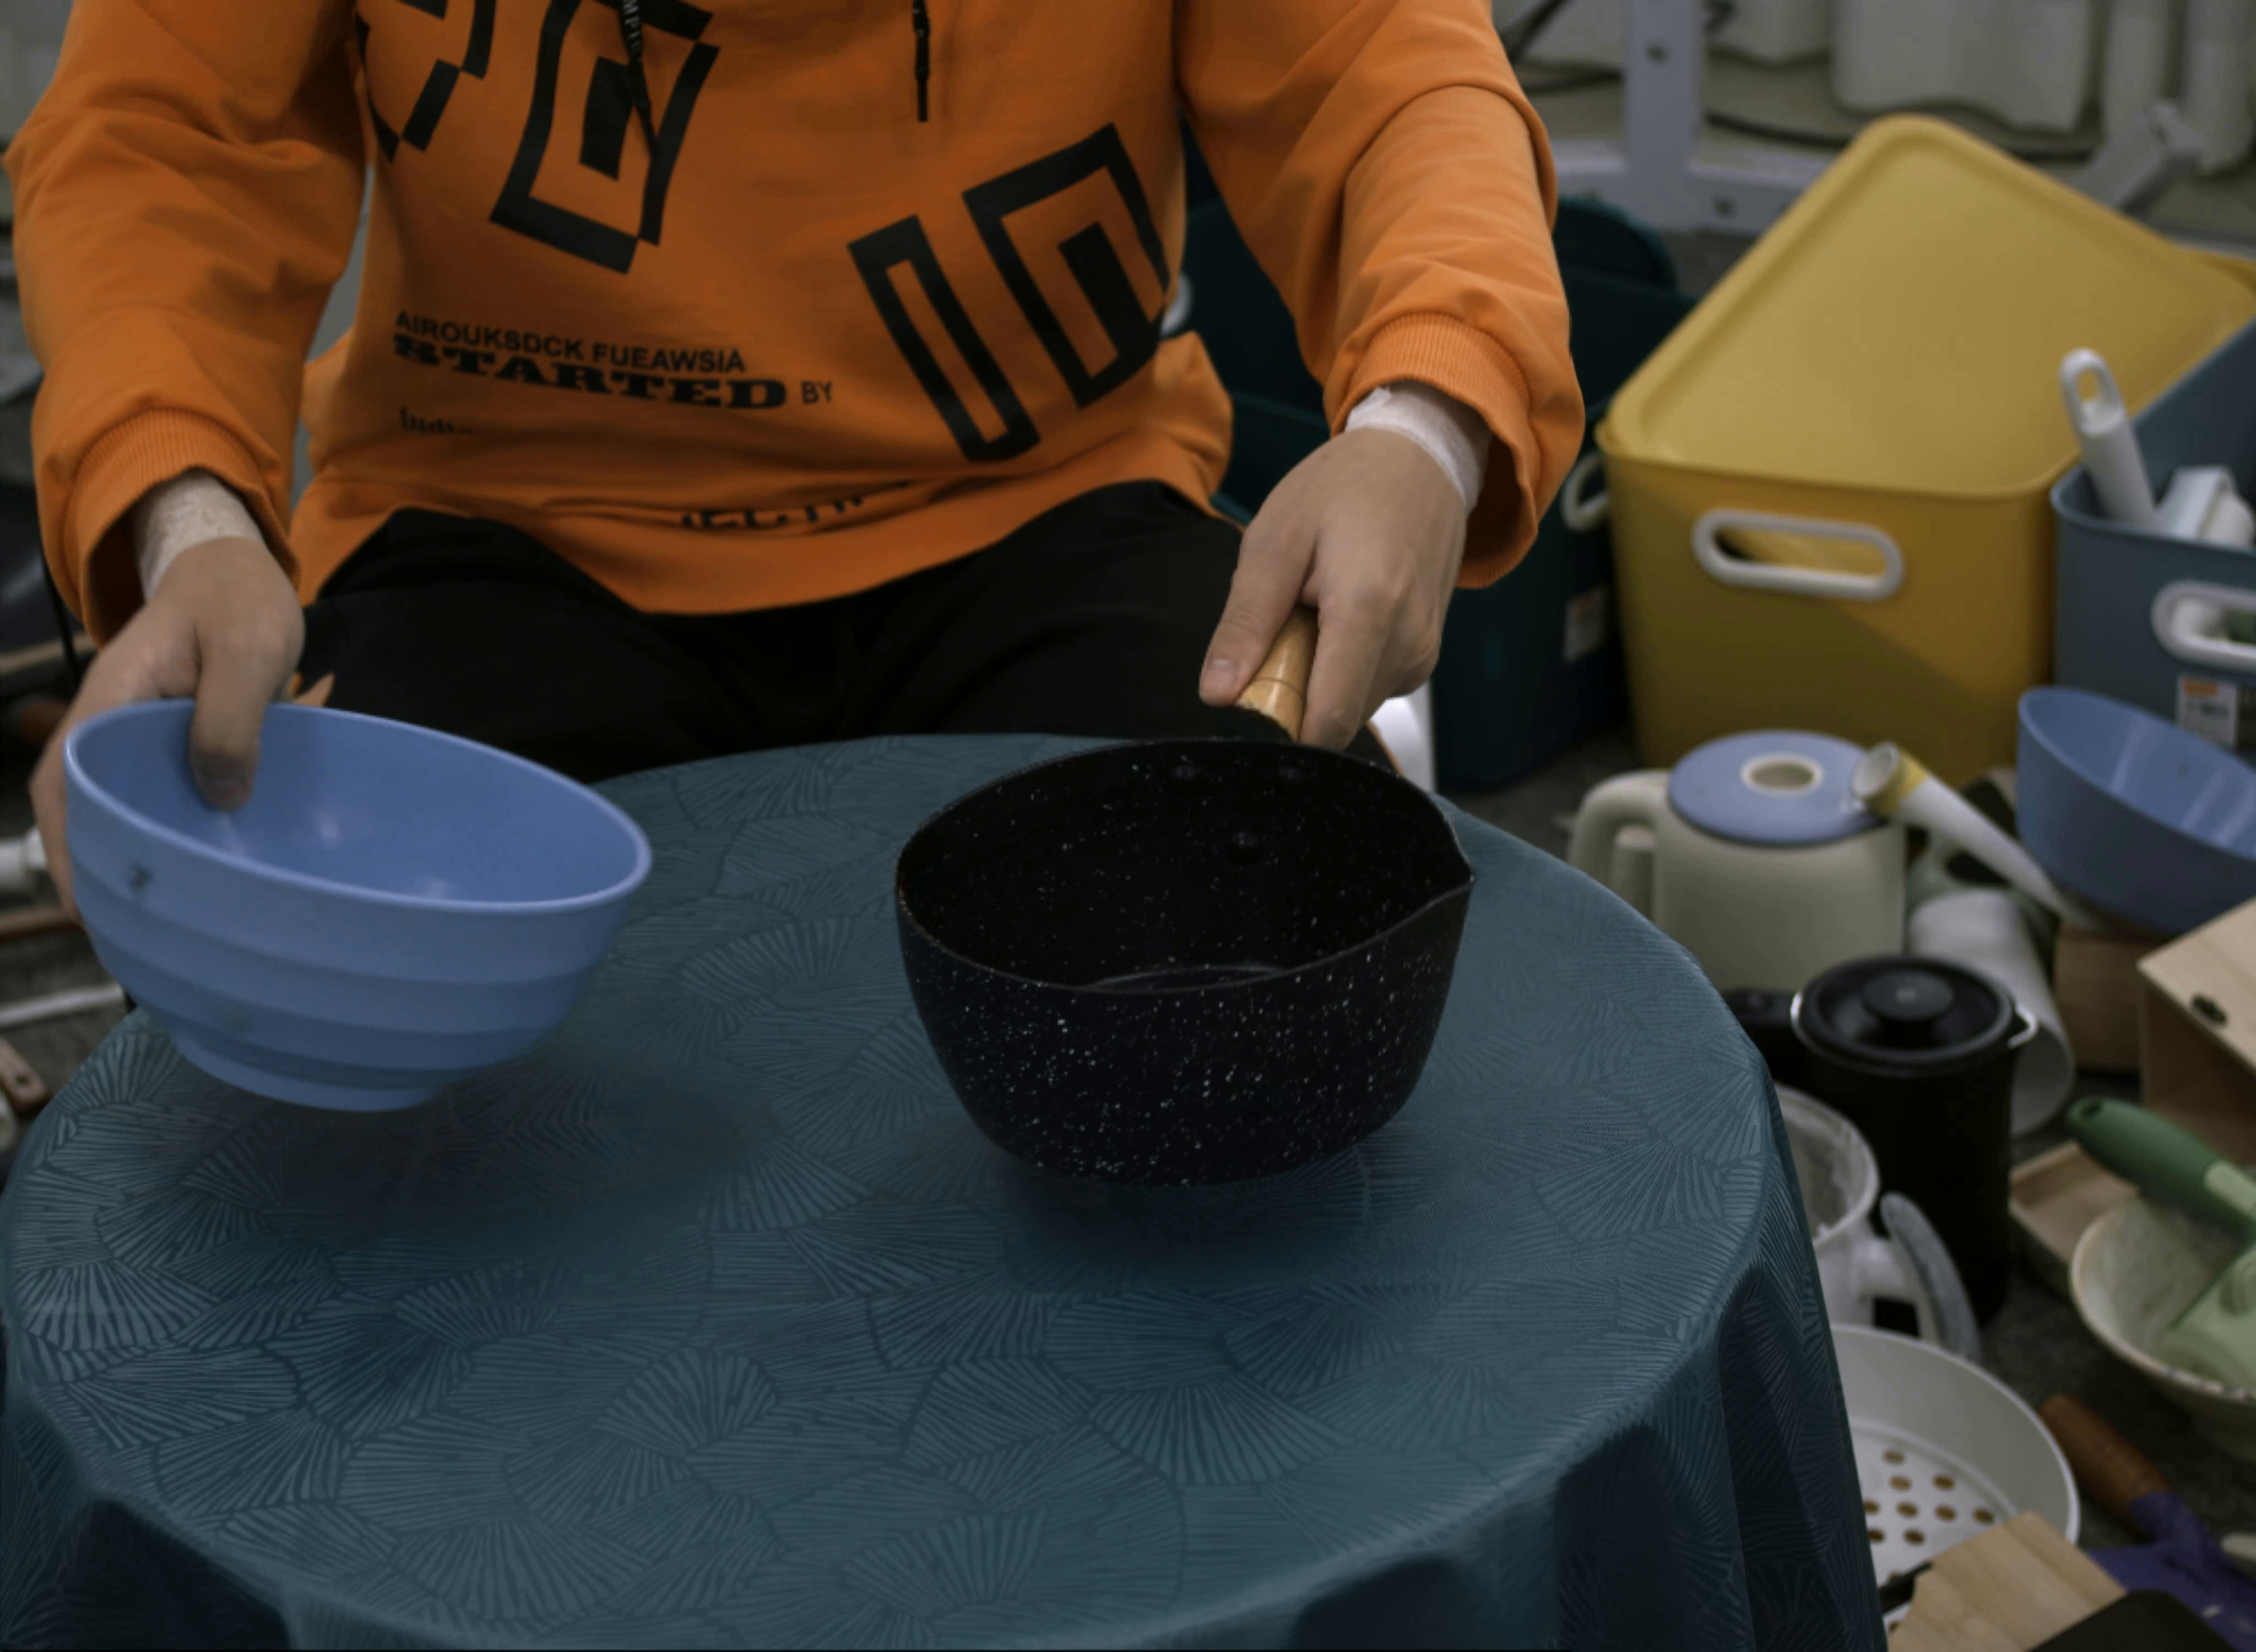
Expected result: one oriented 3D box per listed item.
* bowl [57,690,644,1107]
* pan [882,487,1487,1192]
[{"bbox_3d":[-0.266,0.032,1.862,0.196,0.095,0.198,15,14,-3],"label":"bowl"},{"bbox_3d":[0.036,0.001,1.917,0.206,0.107,0.349,1,27,14],"label":"pan"}]
